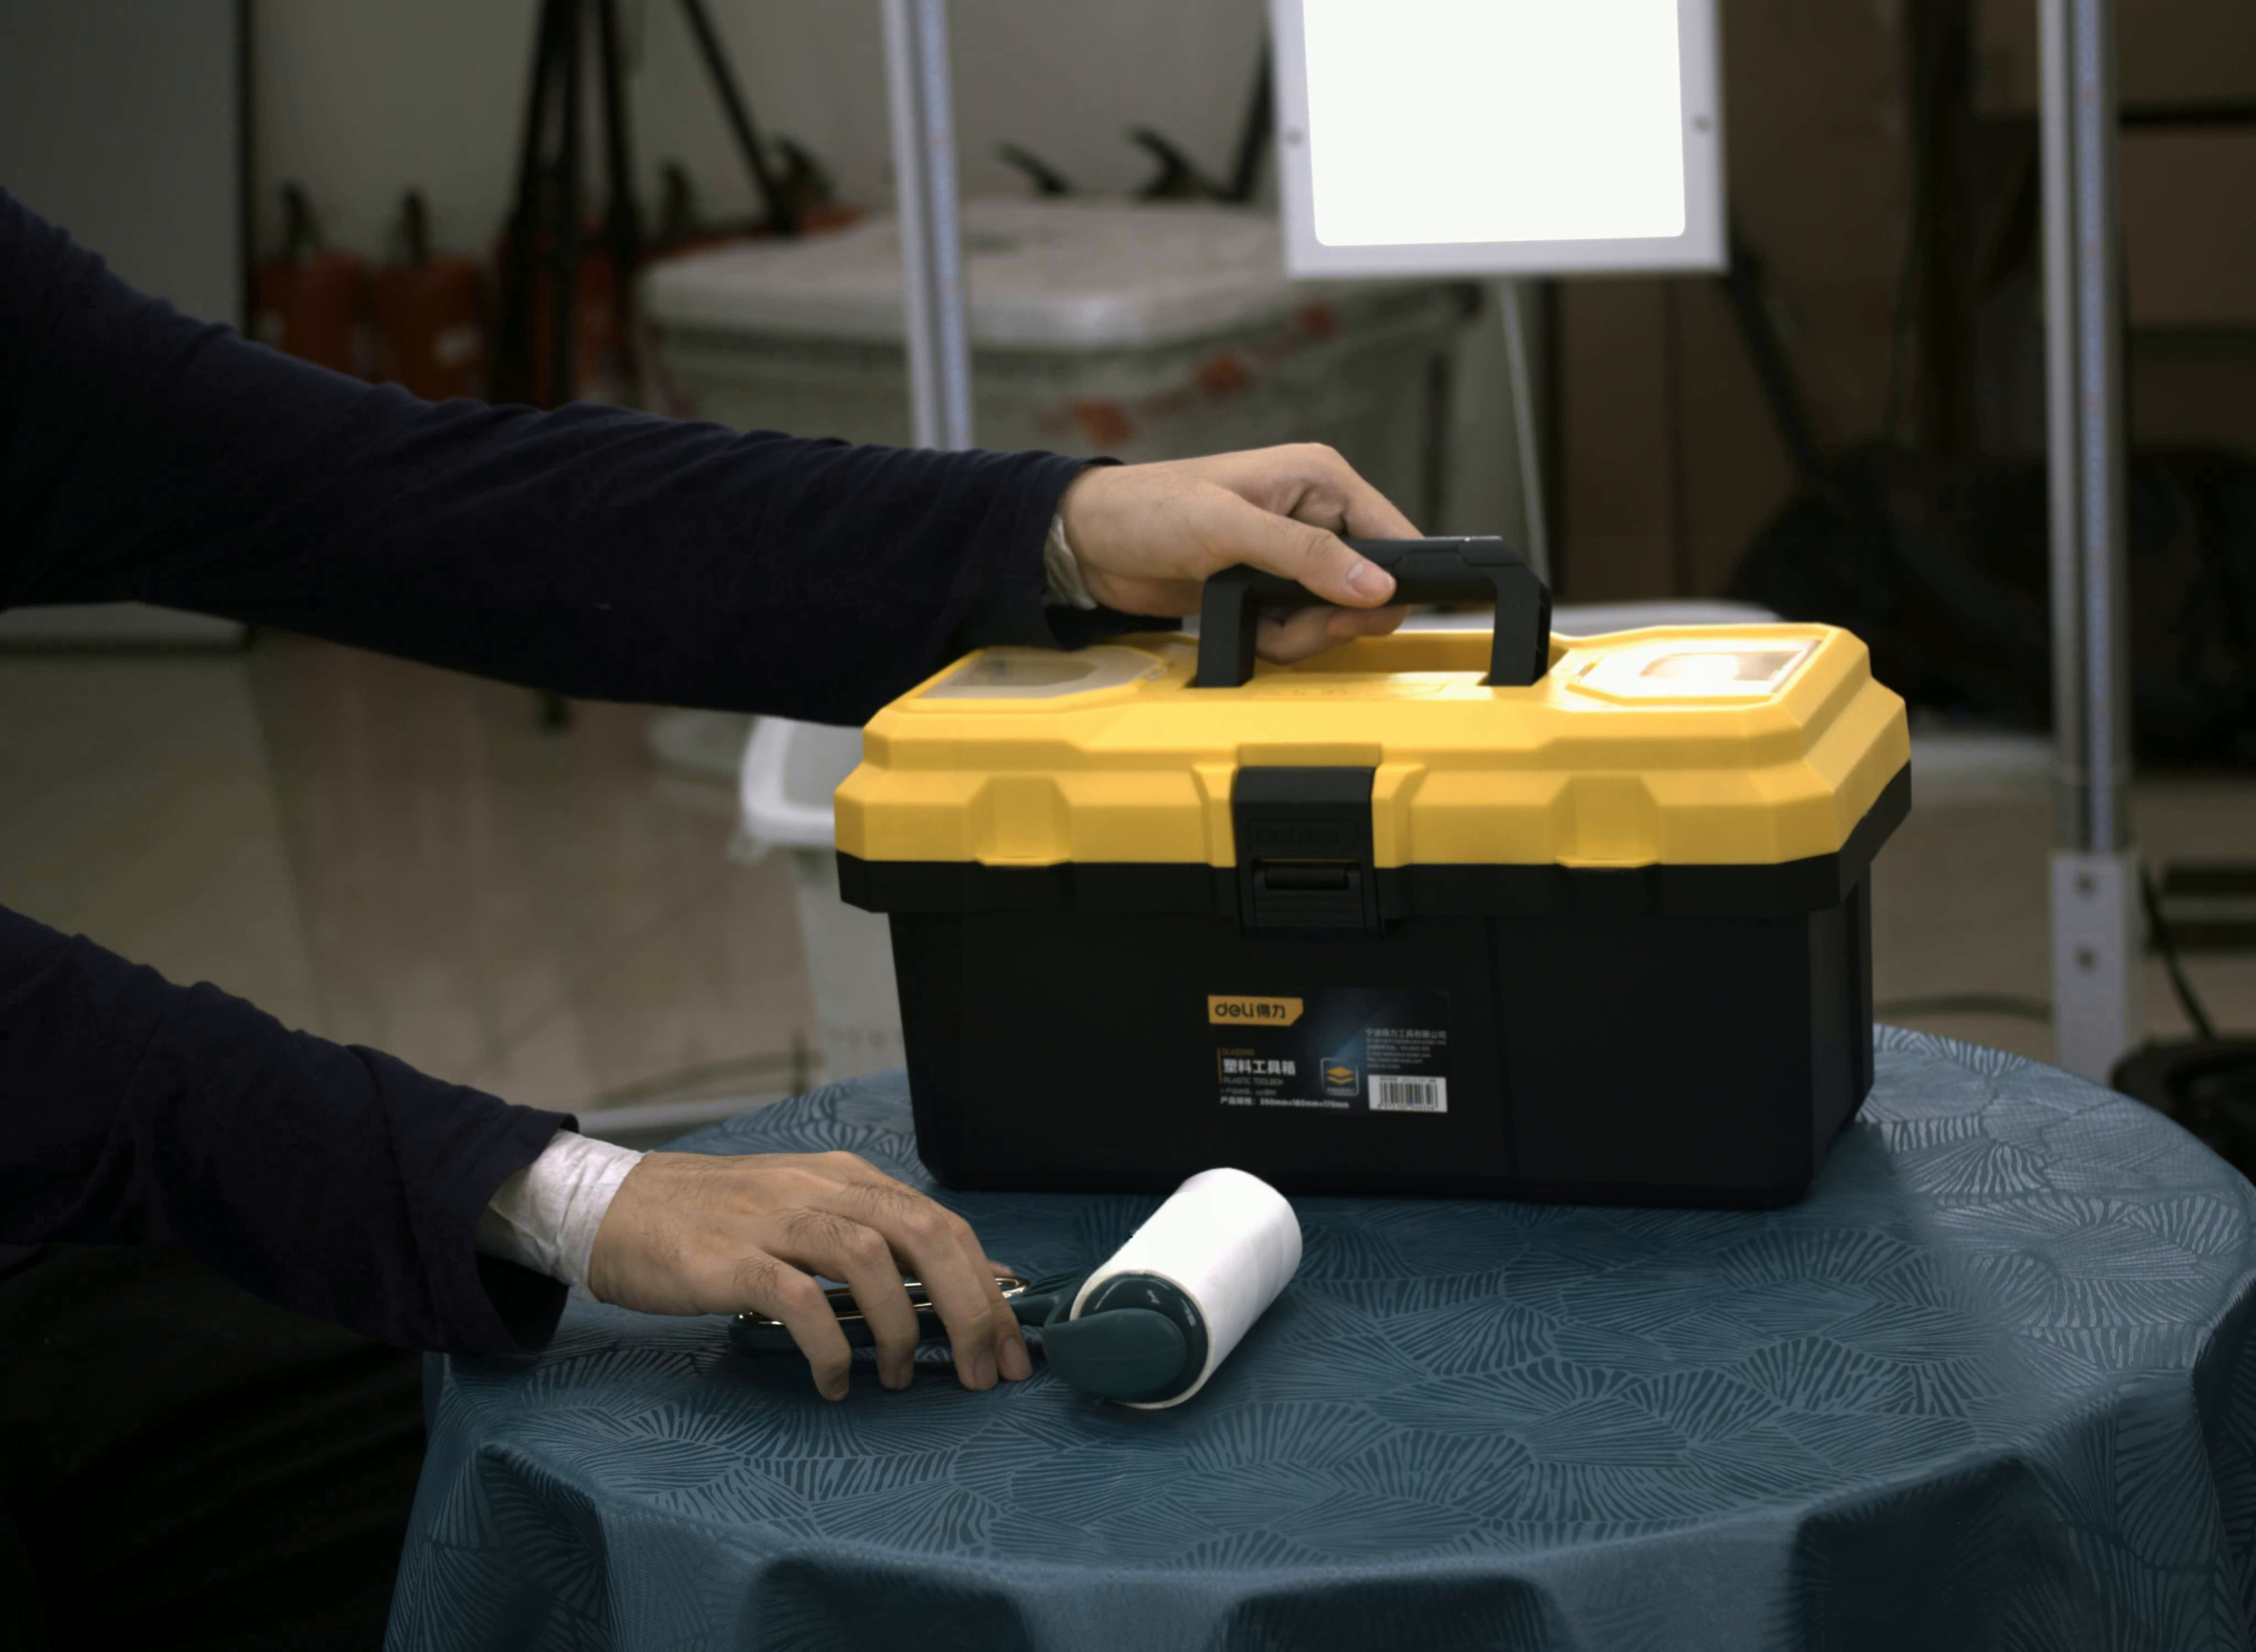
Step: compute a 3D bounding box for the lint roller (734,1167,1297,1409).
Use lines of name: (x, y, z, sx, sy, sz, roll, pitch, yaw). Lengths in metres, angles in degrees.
lint roller: (-0.044, 0.148, 1.748, 0.182, 0.048, 0.132, -4, 14, 20)

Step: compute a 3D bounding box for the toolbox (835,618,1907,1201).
toolbox: (0.087, 0.029, 1.903, 0.356, 0.173, 0.178, 0, 14, 21)
